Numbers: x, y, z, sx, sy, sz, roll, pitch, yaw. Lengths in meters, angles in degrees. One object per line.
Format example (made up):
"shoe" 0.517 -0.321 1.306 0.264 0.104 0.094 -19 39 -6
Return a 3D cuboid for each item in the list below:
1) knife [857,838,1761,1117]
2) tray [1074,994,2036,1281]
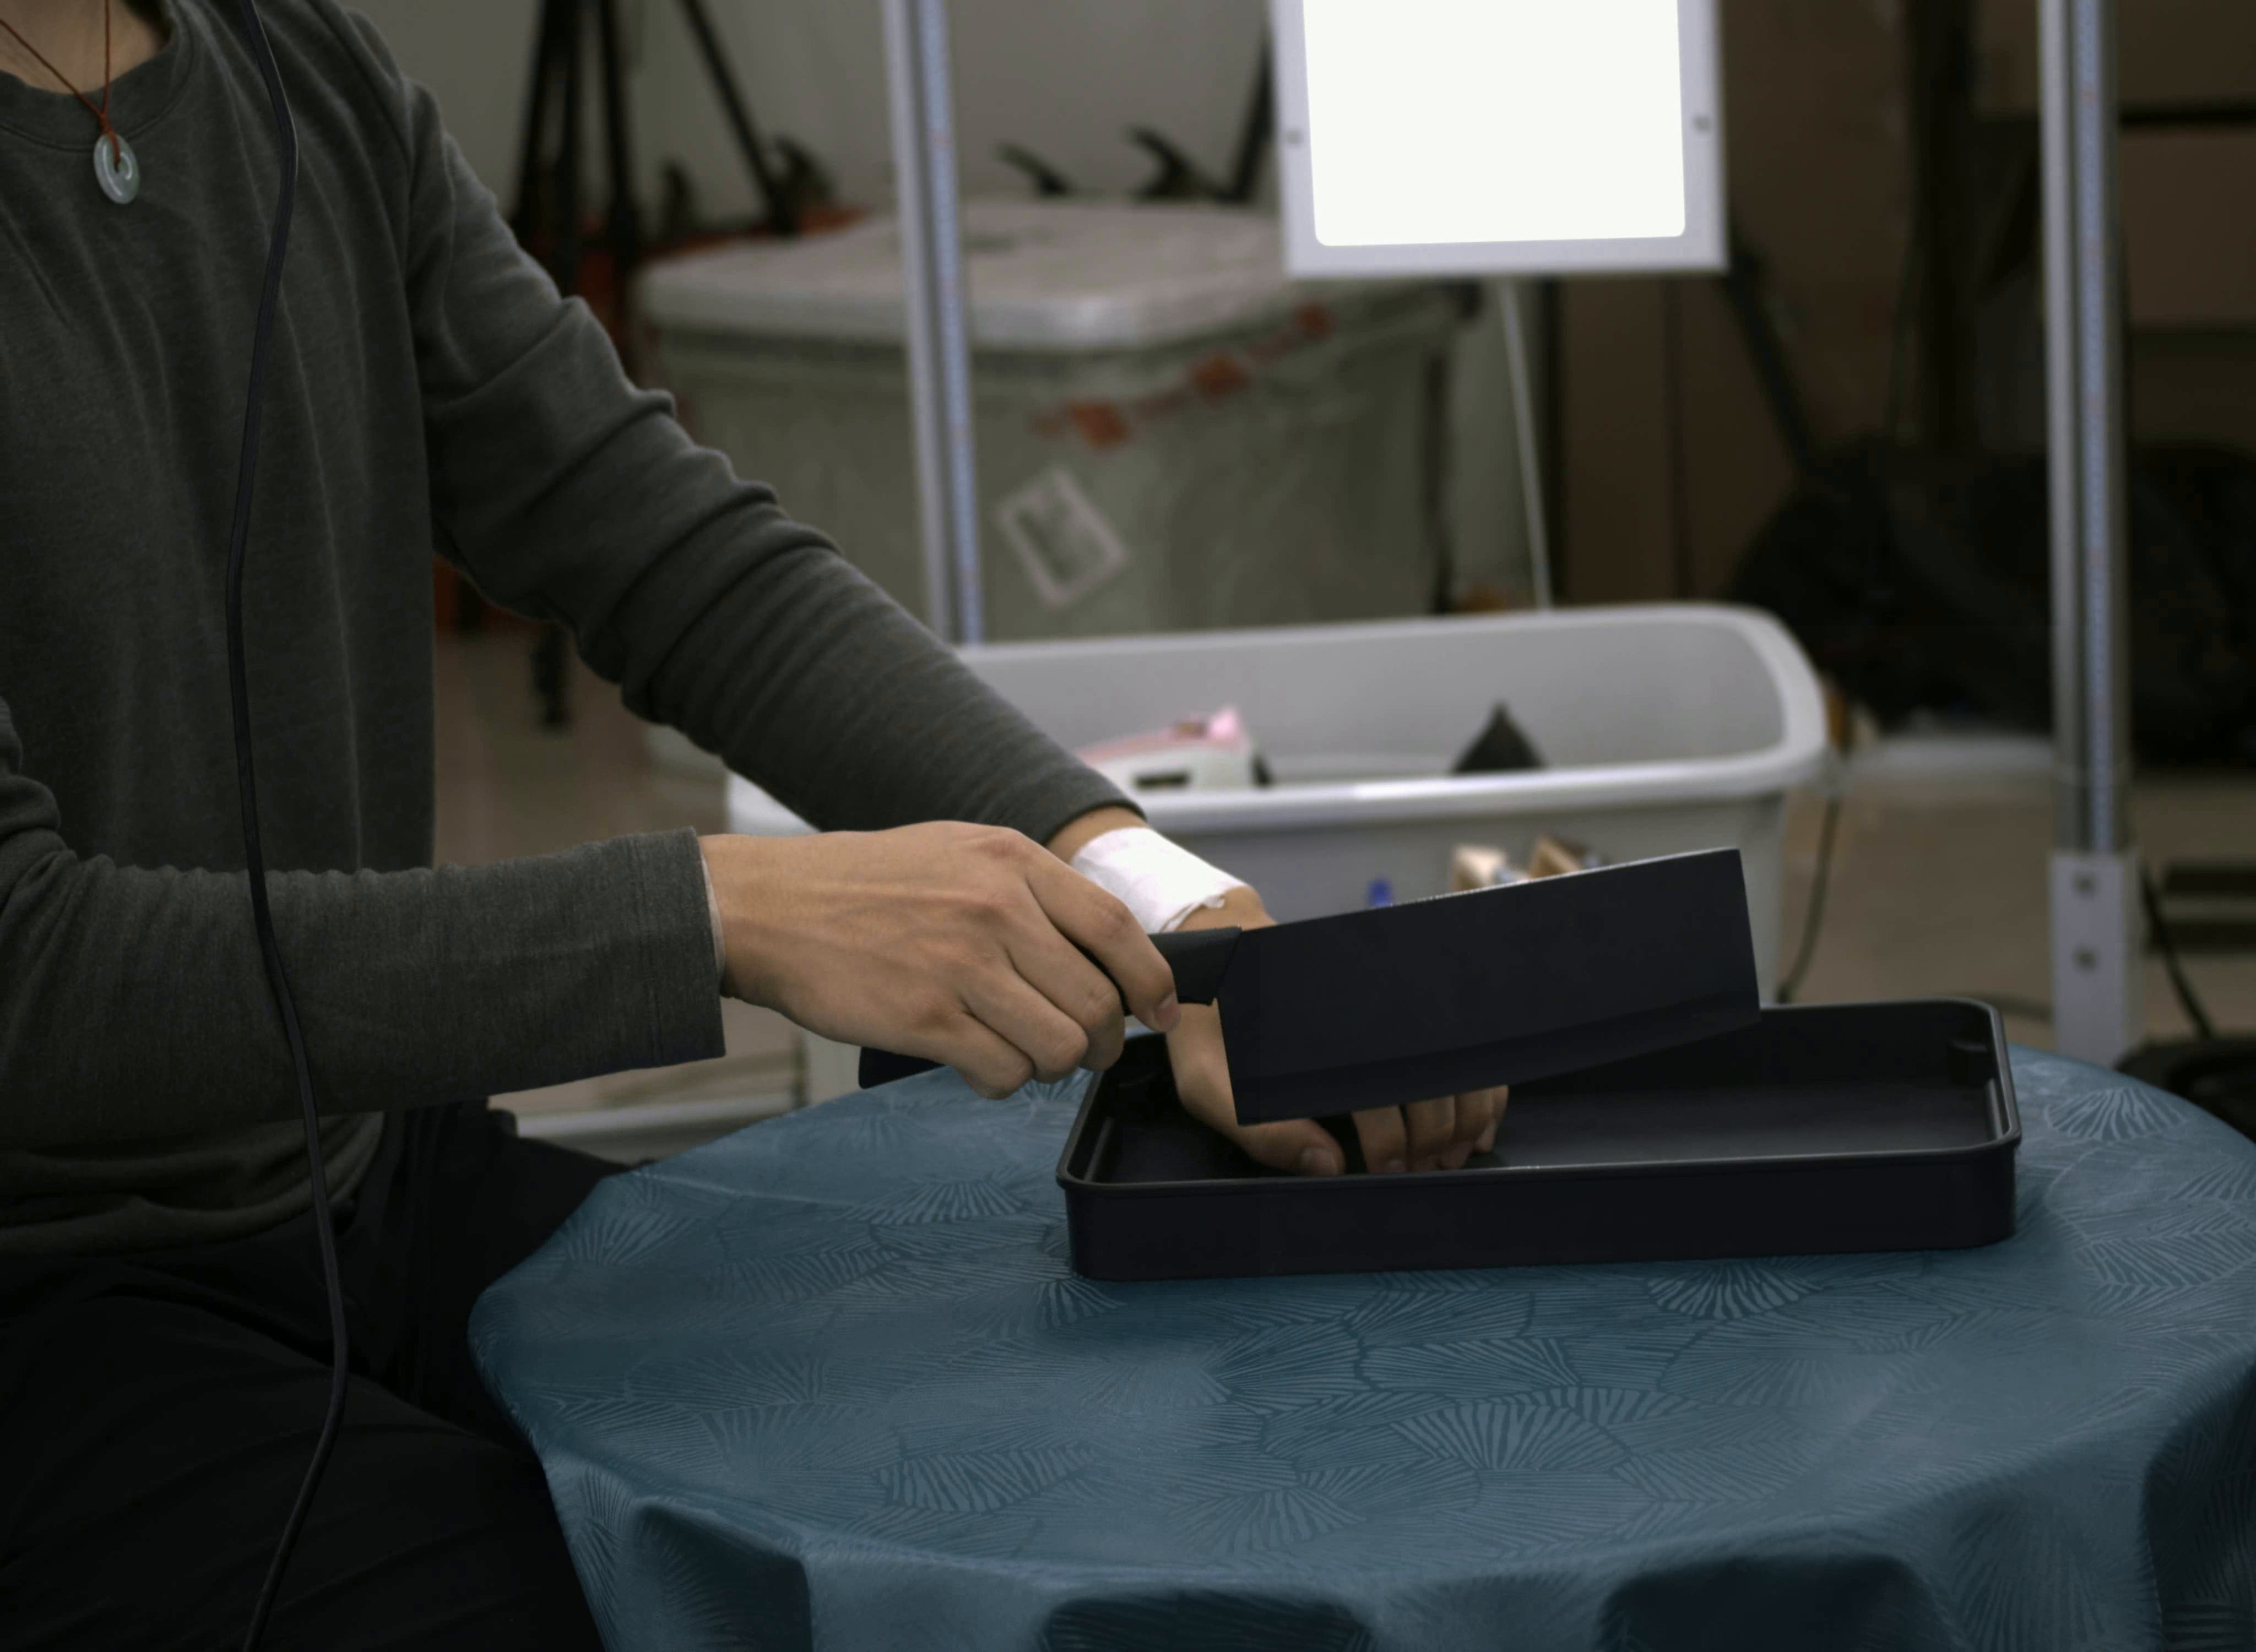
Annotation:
"knife" 0.060 0.056 1.808 0.300 0.081 0.021 -6 8 -3
"tray" 0.146 0.104 1.865 0.319 0.037 0.183 -3 14 7
